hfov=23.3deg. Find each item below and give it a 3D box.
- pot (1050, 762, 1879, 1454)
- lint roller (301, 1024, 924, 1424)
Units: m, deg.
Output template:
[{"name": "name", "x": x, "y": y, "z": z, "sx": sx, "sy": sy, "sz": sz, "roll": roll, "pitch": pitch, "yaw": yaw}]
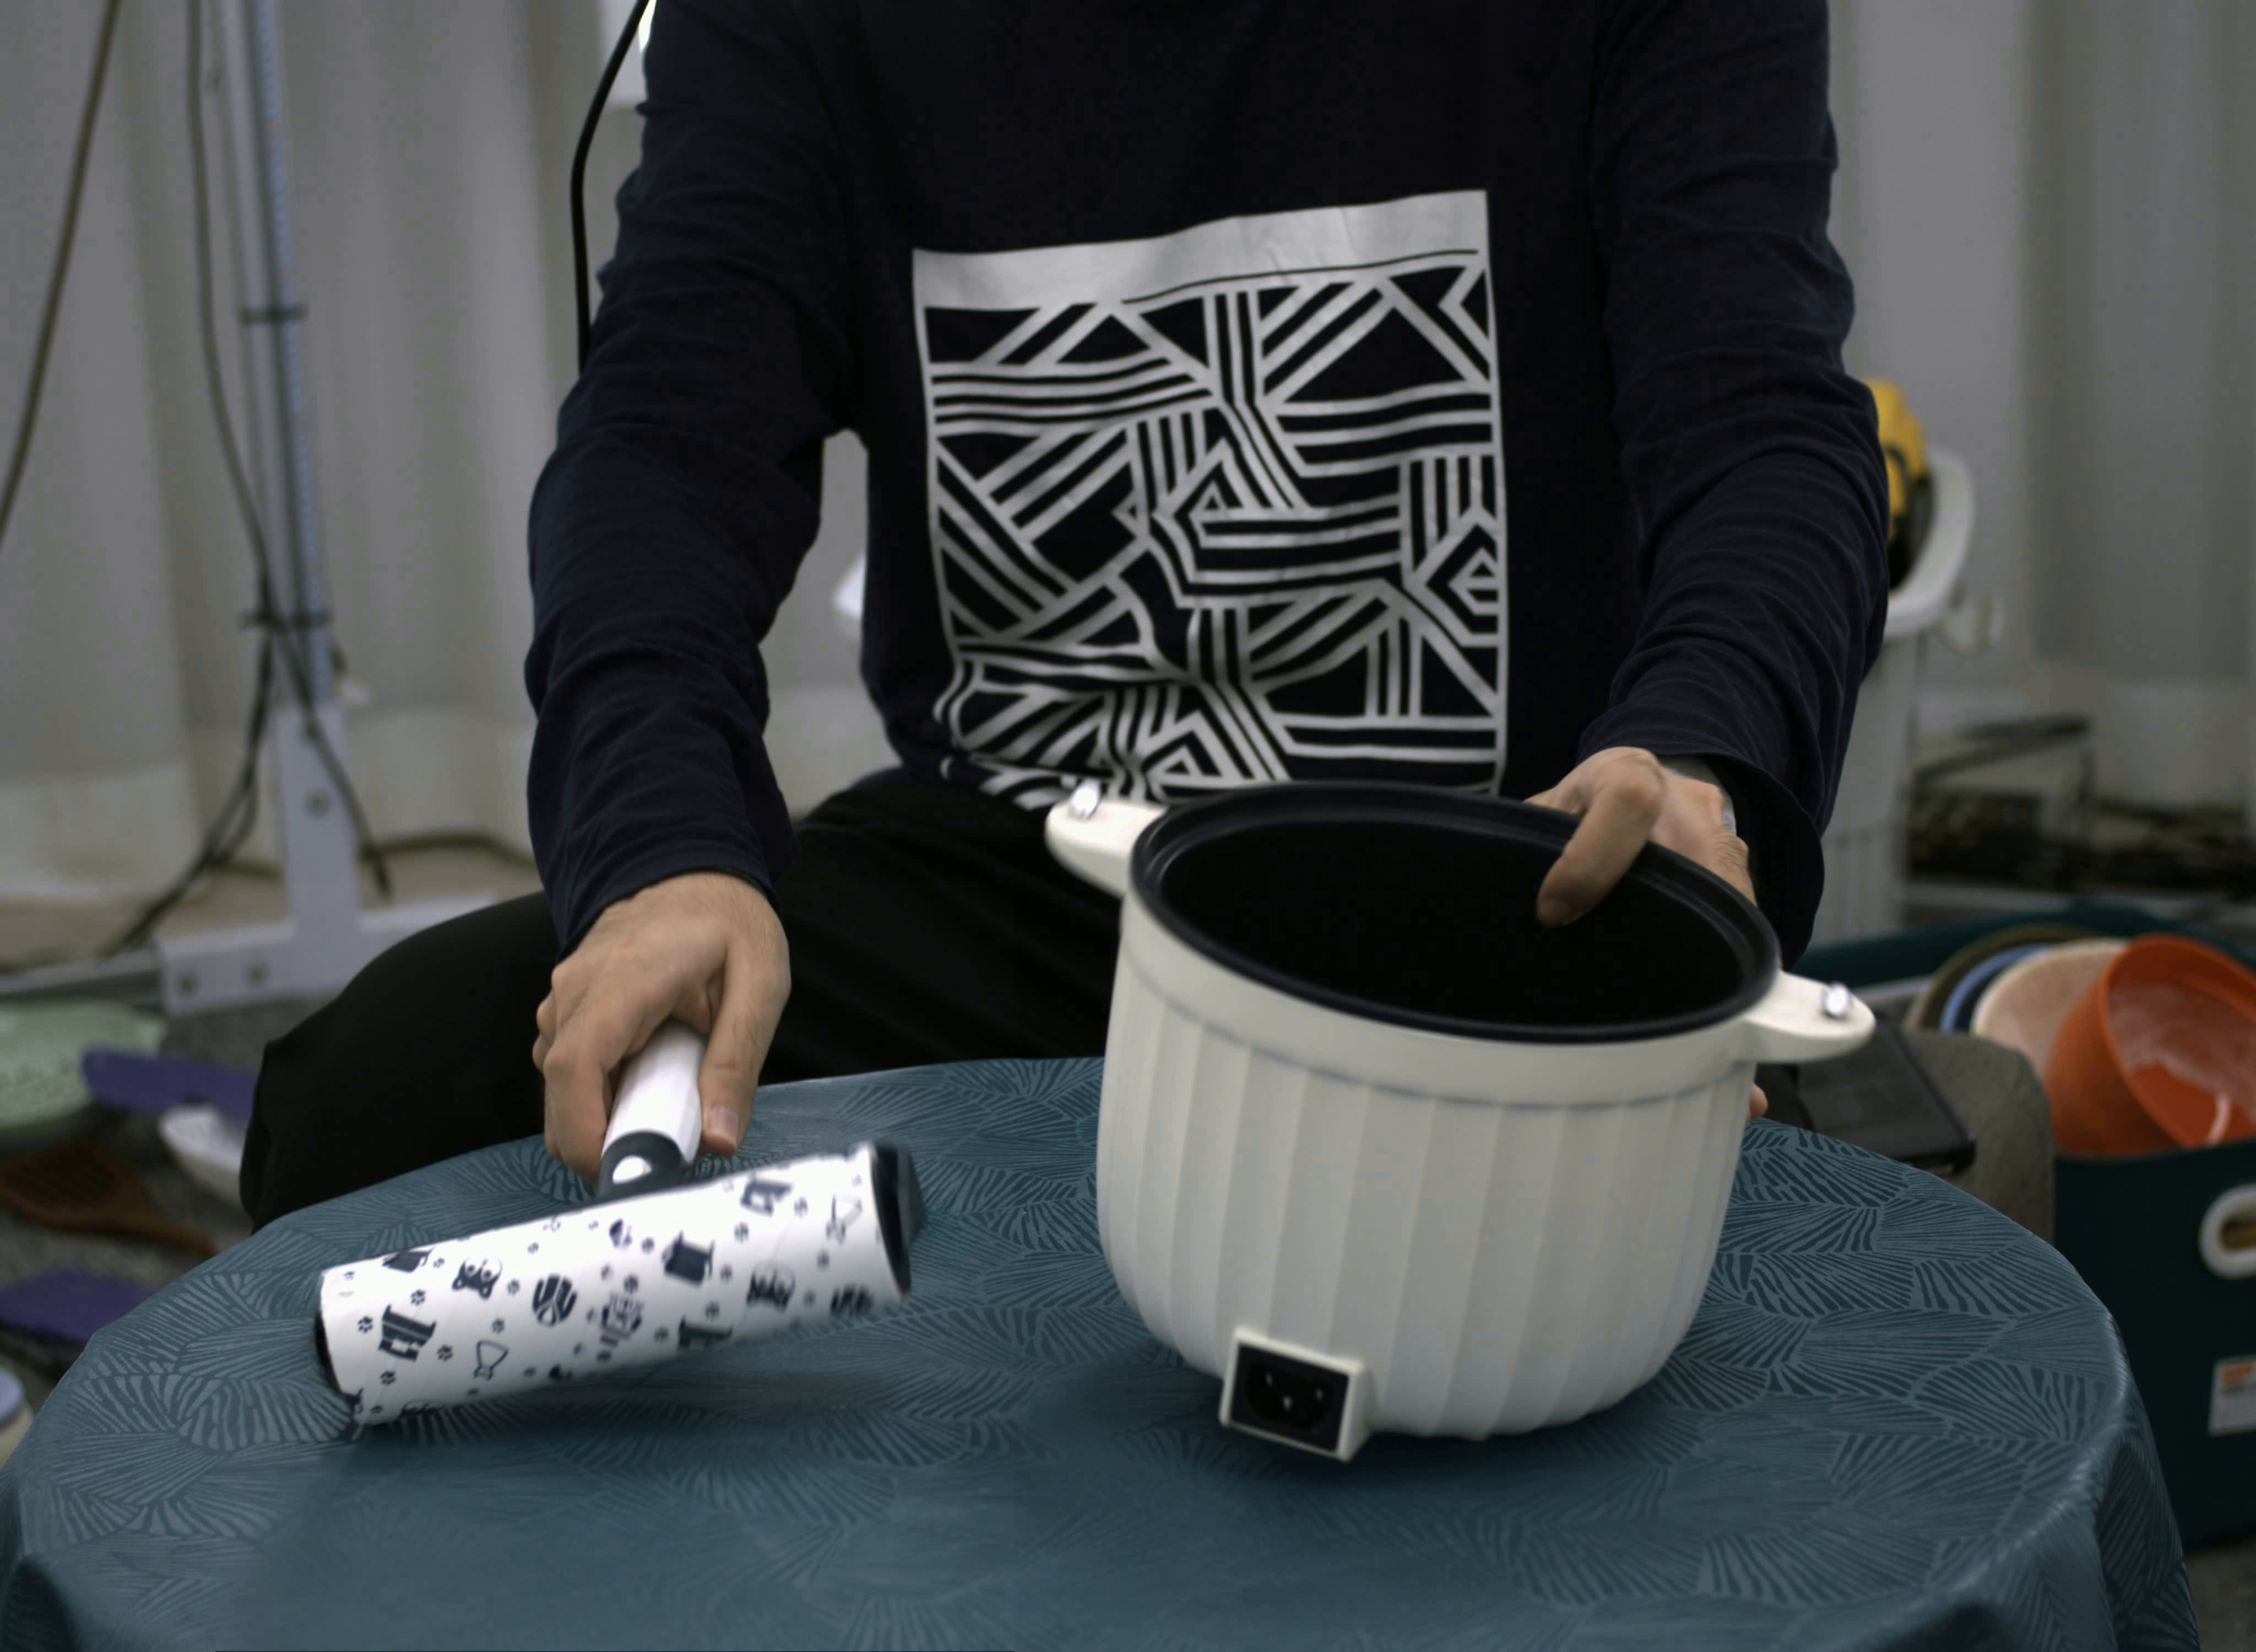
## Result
[{"name": "pot", "x": 0.081, "y": 0.077, "z": 1.529, "sx": 0.241, "sy": 0.141, "sz": 0.191, "roll": 18, "pitch": 25, "yaw": 16}, {"name": "lint roller", "x": -0.146, "y": 0.101, "z": 1.637, "sx": 0.176, "sy": 0.050, "sz": 0.249, "roll": -12, "pitch": 17, "yaw": 3}]
